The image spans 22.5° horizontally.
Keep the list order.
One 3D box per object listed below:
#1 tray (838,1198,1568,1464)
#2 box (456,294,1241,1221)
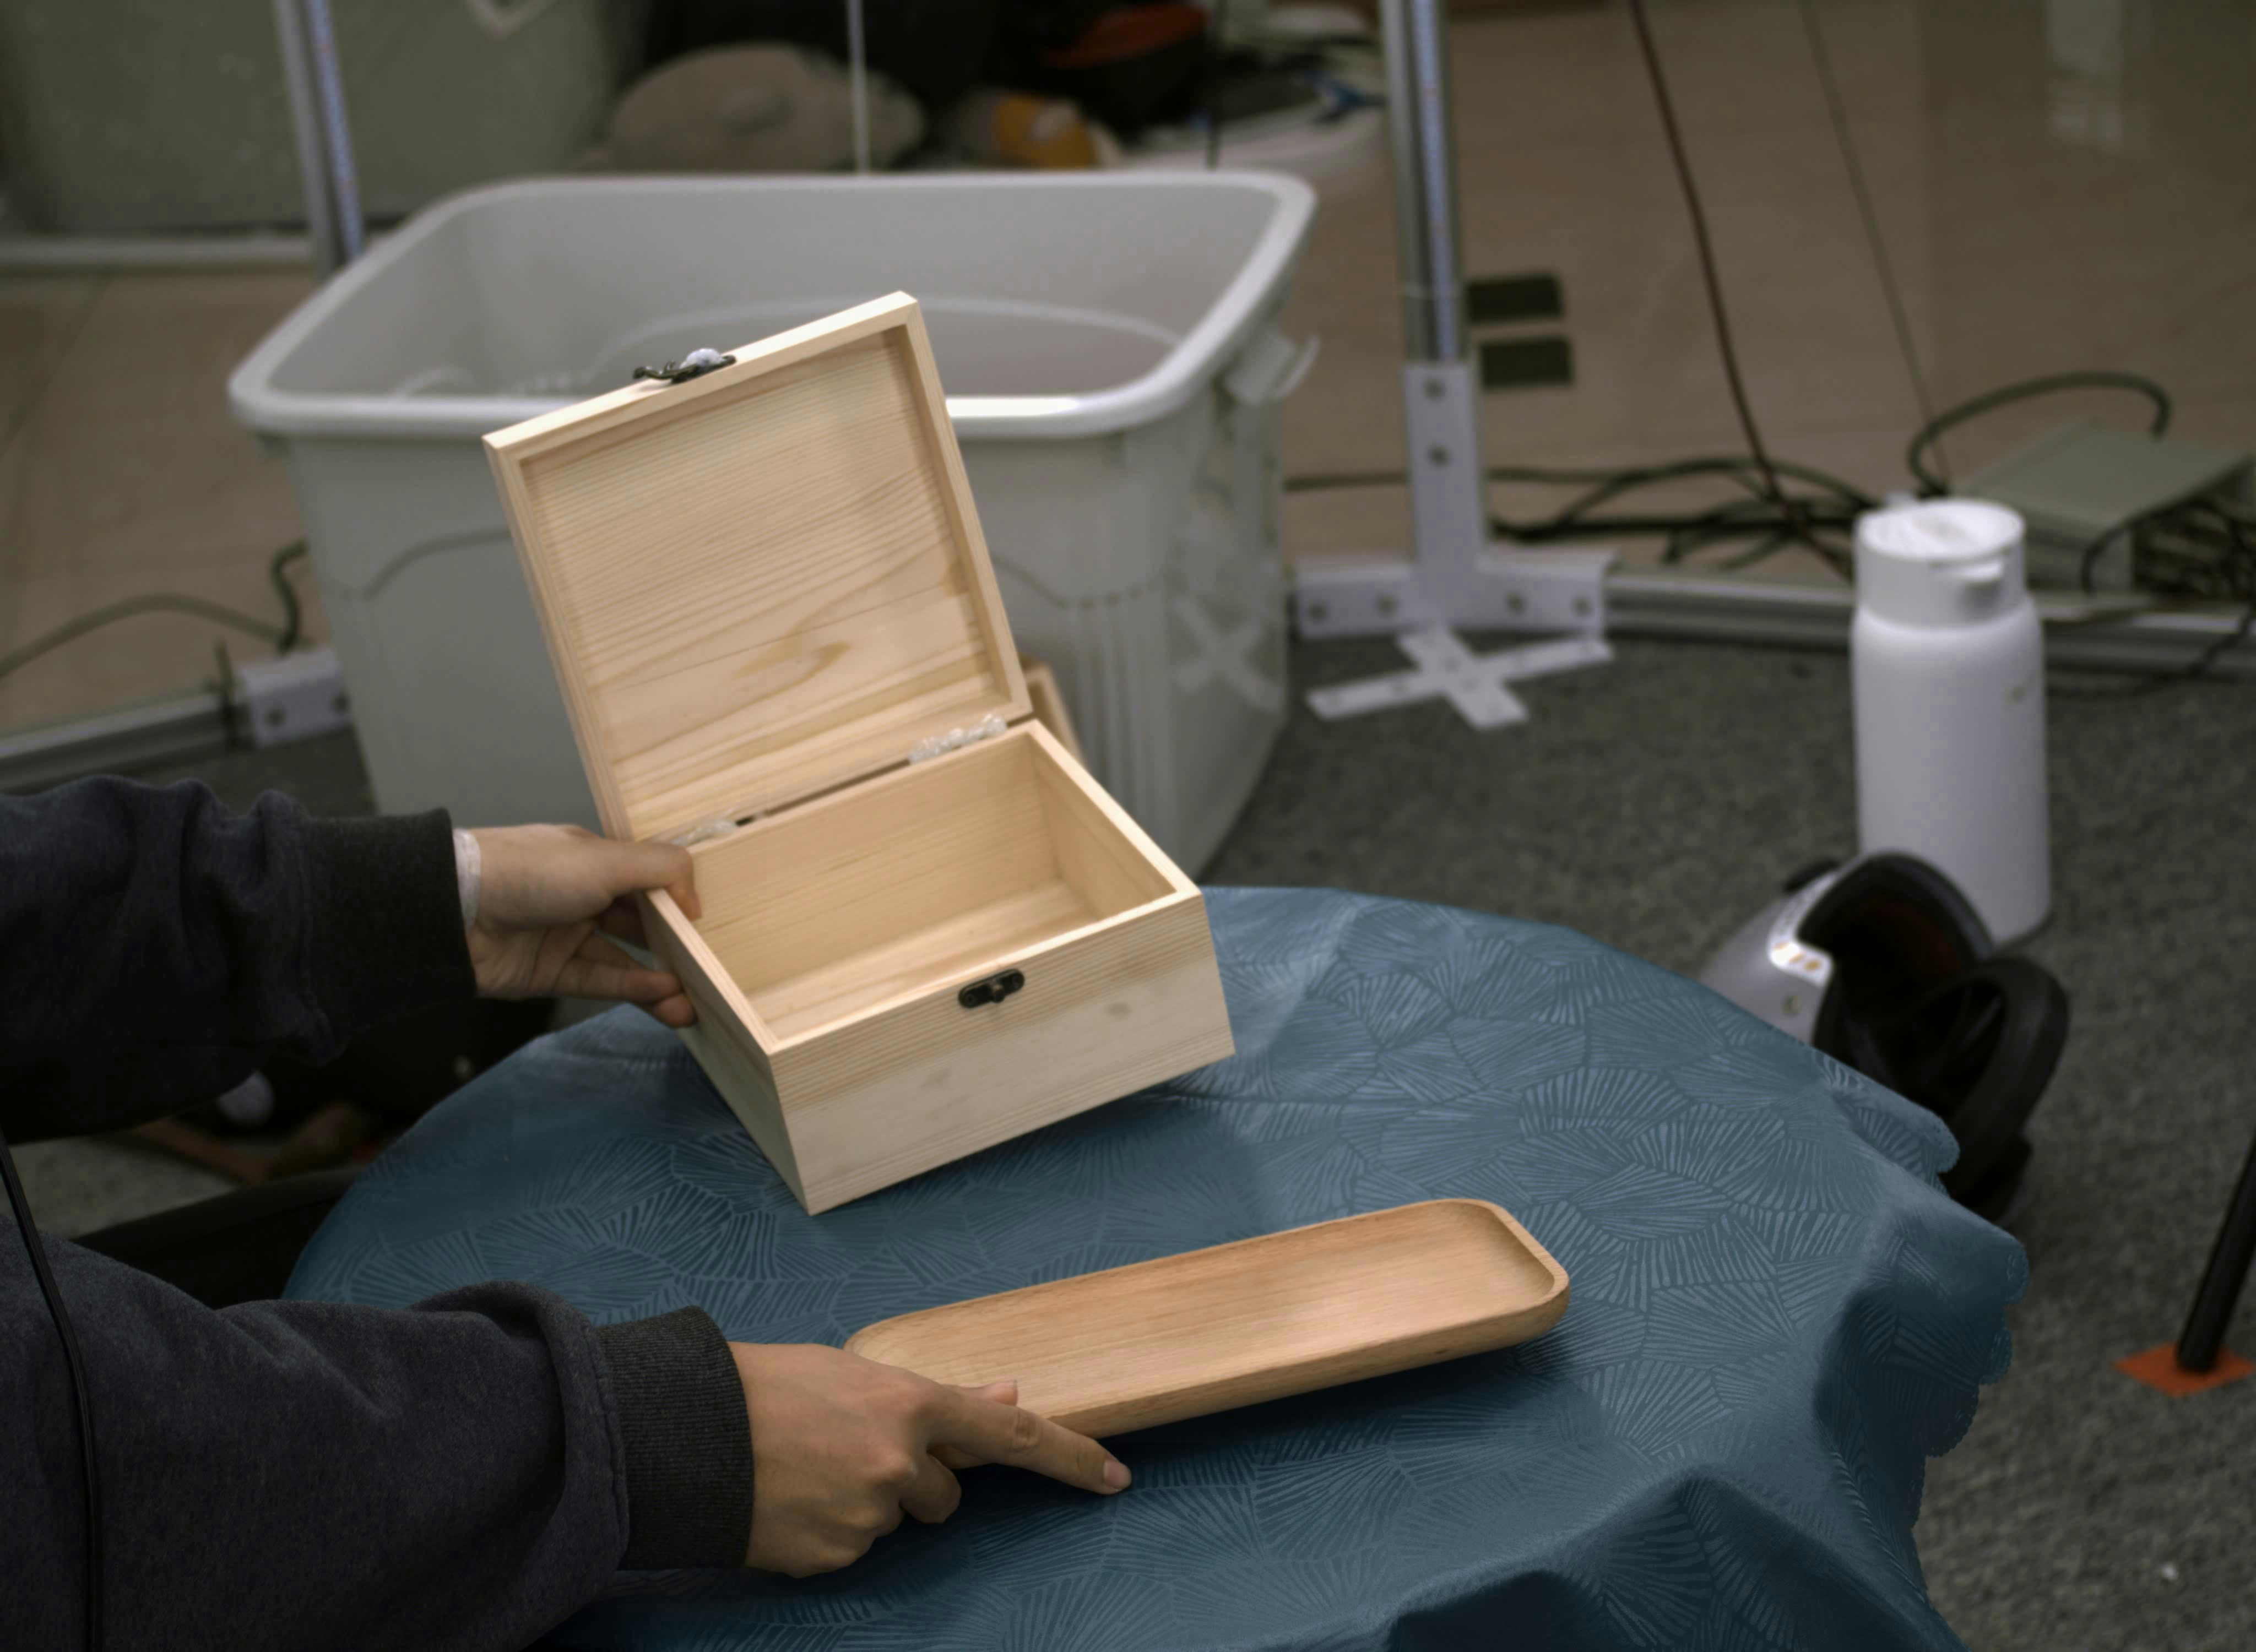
[{"bbox_3d":[0.026,0.178,2.014,0.250,0.023,0.129,-12,14,-10],"label":"tray"},{"bbox_3d":[-0.111,-0.033,2.218,0.181,0.257,0.261,-23,30,-13],"label":"box"}]
